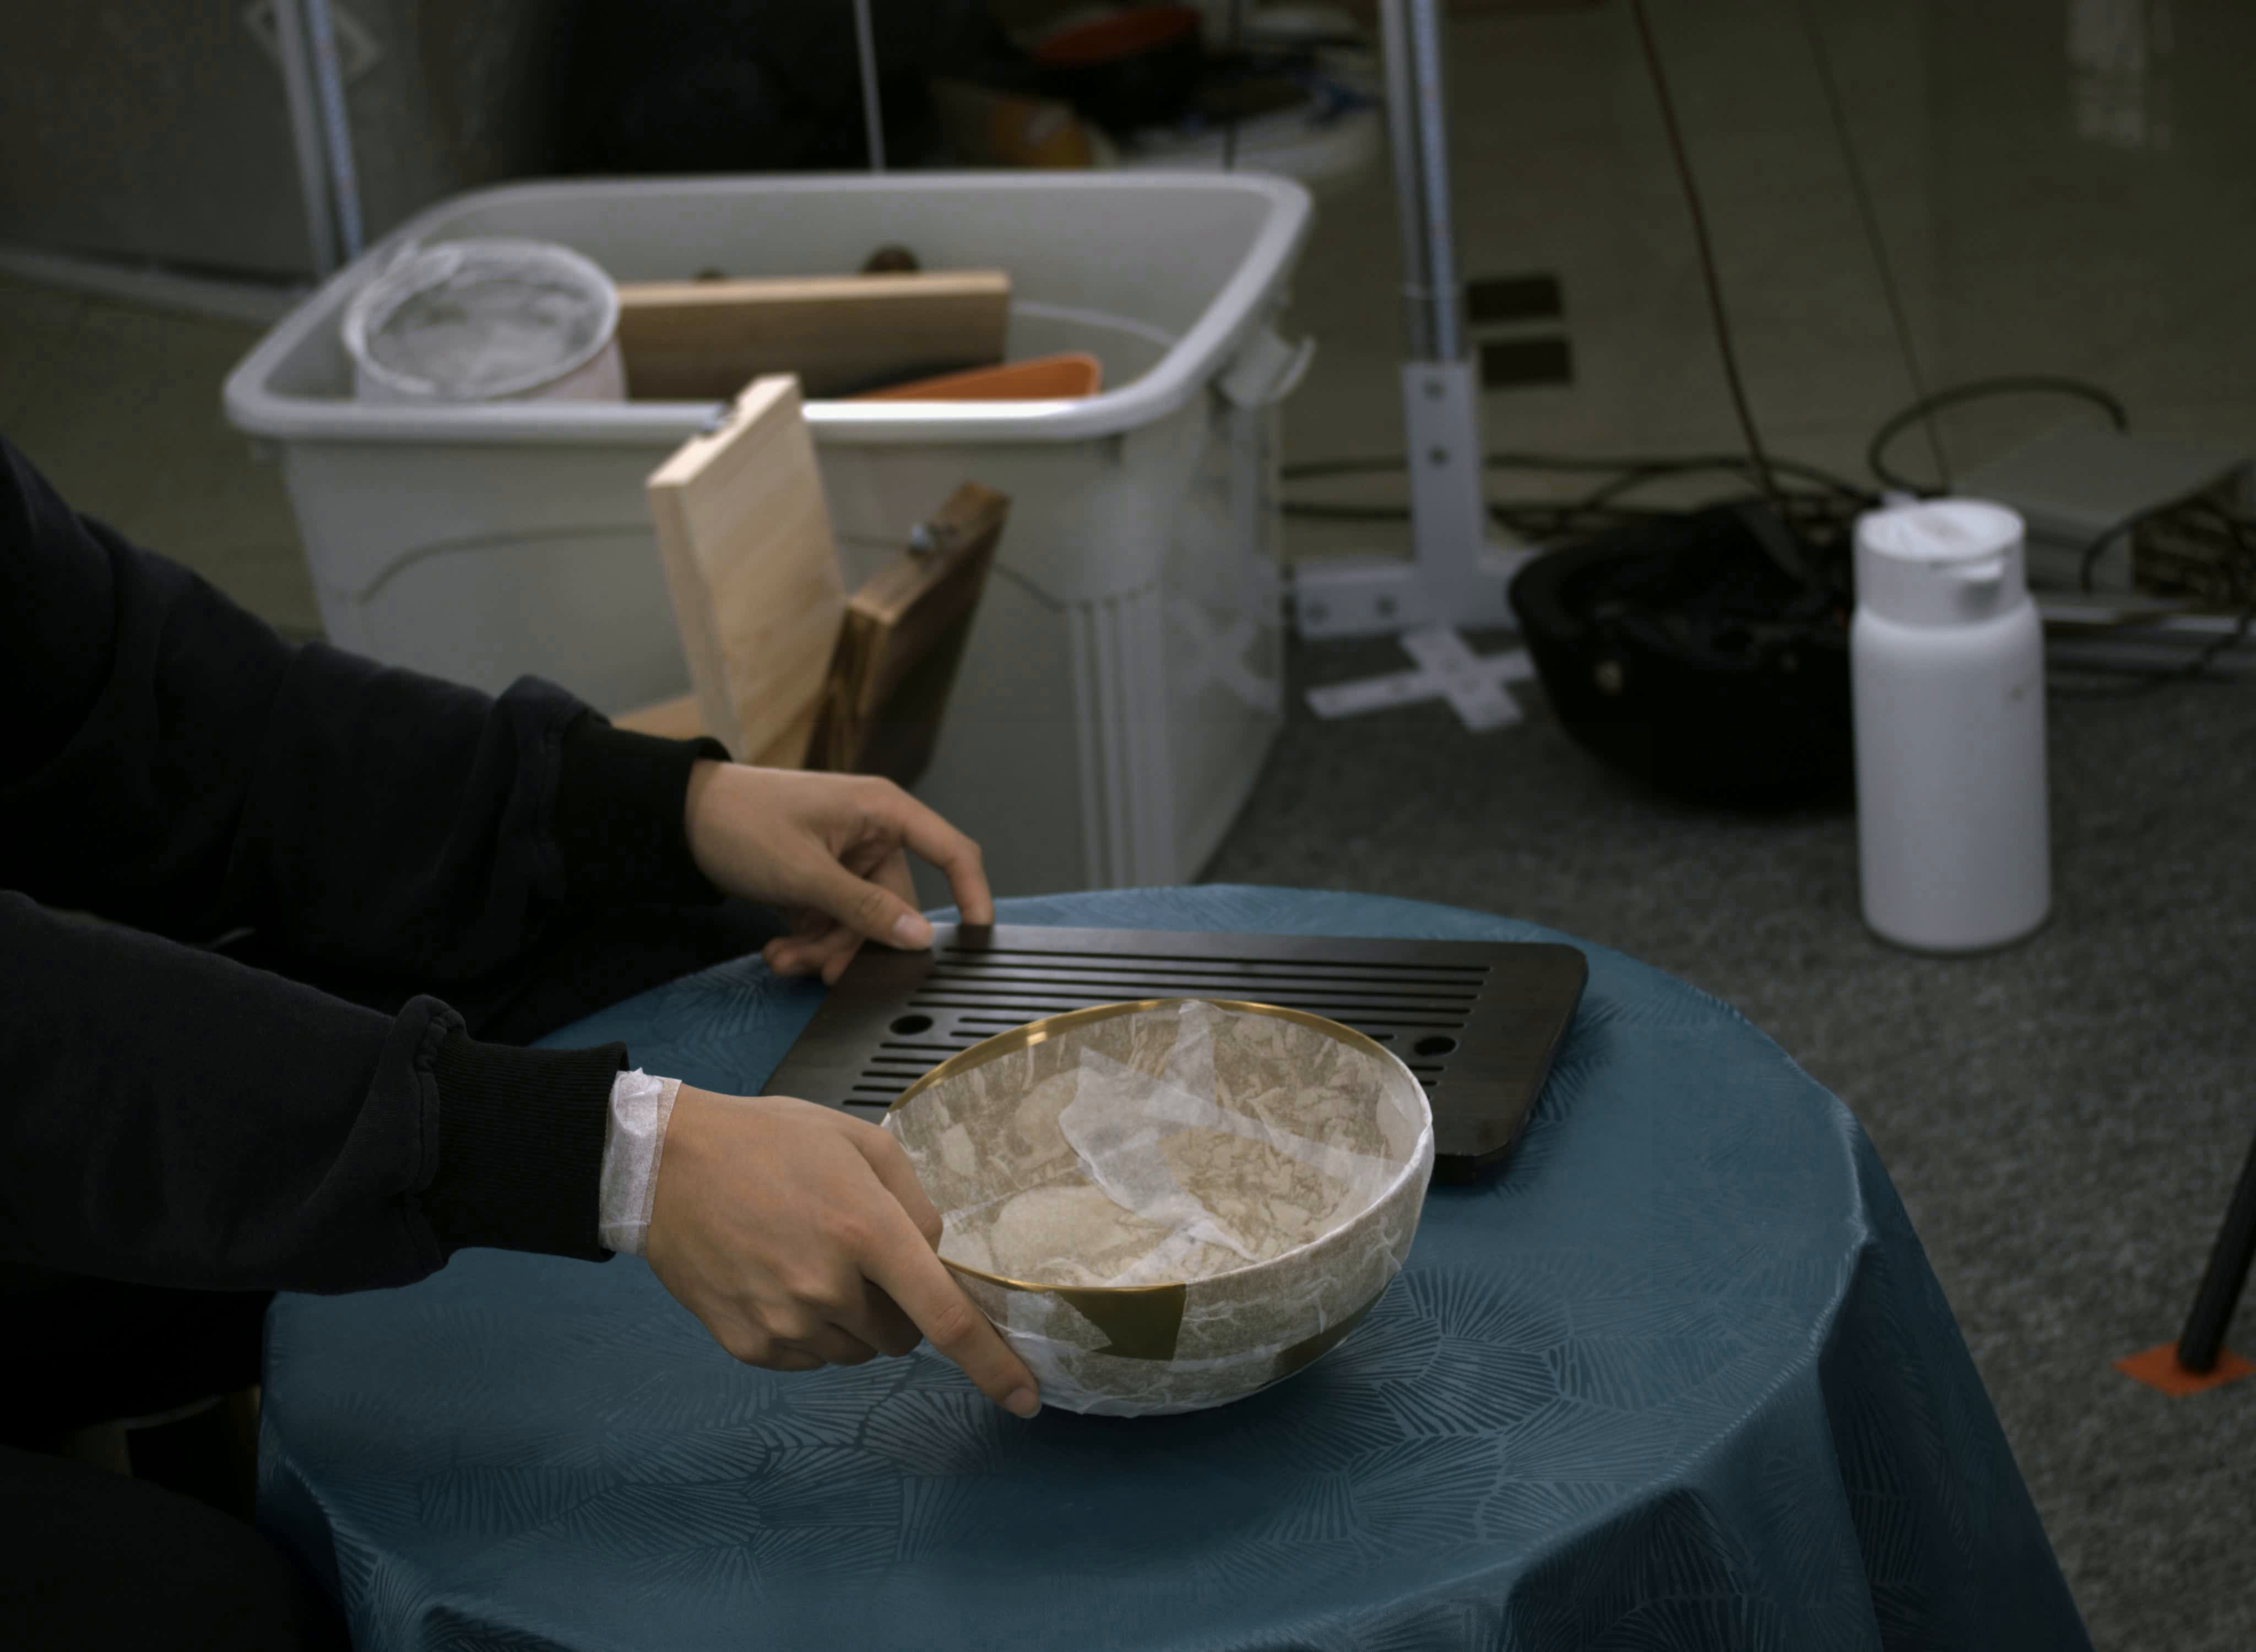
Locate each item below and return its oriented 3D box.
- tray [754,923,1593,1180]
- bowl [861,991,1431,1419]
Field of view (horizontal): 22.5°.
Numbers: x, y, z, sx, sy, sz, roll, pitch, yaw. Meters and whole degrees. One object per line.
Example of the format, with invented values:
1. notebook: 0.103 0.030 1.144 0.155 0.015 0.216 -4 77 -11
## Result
1. tray: 0.020 0.088 2.233 0.305 0.019 0.167 2 27 17
2. bowl: 0.008 0.147 2.020 0.214 0.096 0.211 -5 29 3
